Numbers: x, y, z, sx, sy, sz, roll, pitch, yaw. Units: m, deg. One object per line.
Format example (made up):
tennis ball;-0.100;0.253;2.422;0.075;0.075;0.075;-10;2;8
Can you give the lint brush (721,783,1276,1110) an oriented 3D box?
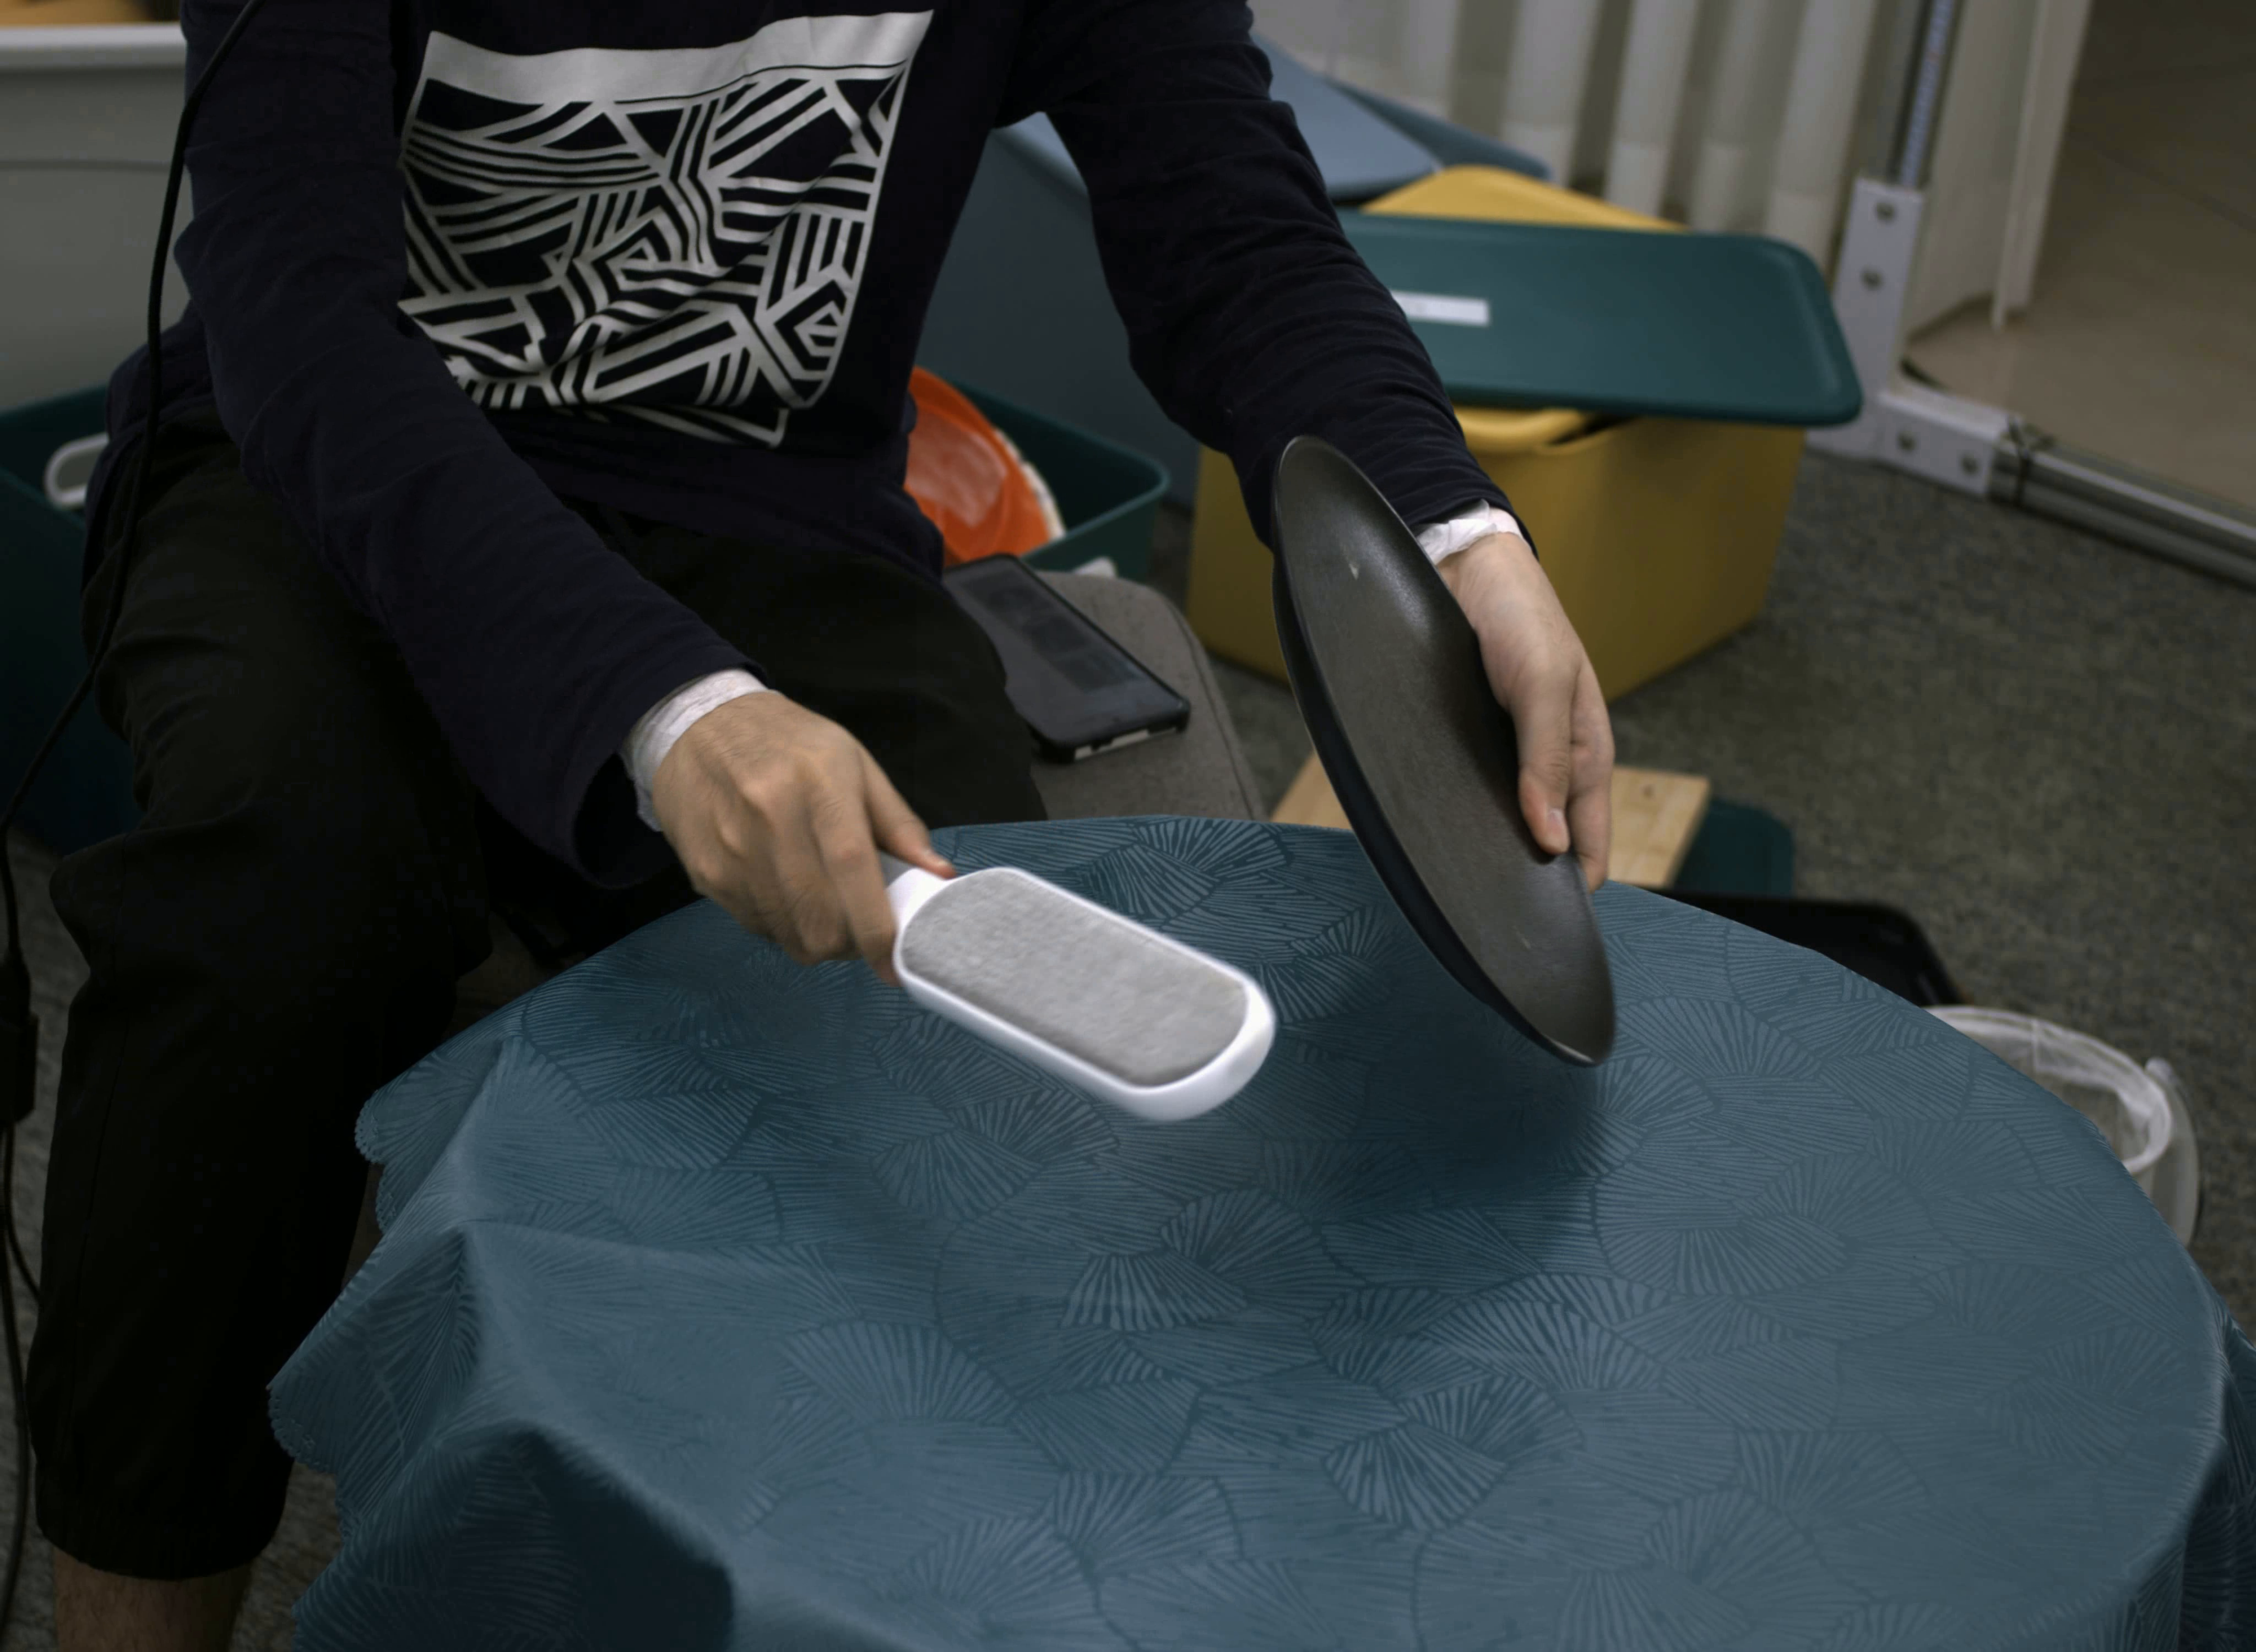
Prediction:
lint brush;-0.050;0.032;1.775;0.060;0.021;0.311;-48;36;-14

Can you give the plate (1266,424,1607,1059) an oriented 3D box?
plate;0.102;-0.027;1.859;0.023;0.243;0.245;-26;21;17
